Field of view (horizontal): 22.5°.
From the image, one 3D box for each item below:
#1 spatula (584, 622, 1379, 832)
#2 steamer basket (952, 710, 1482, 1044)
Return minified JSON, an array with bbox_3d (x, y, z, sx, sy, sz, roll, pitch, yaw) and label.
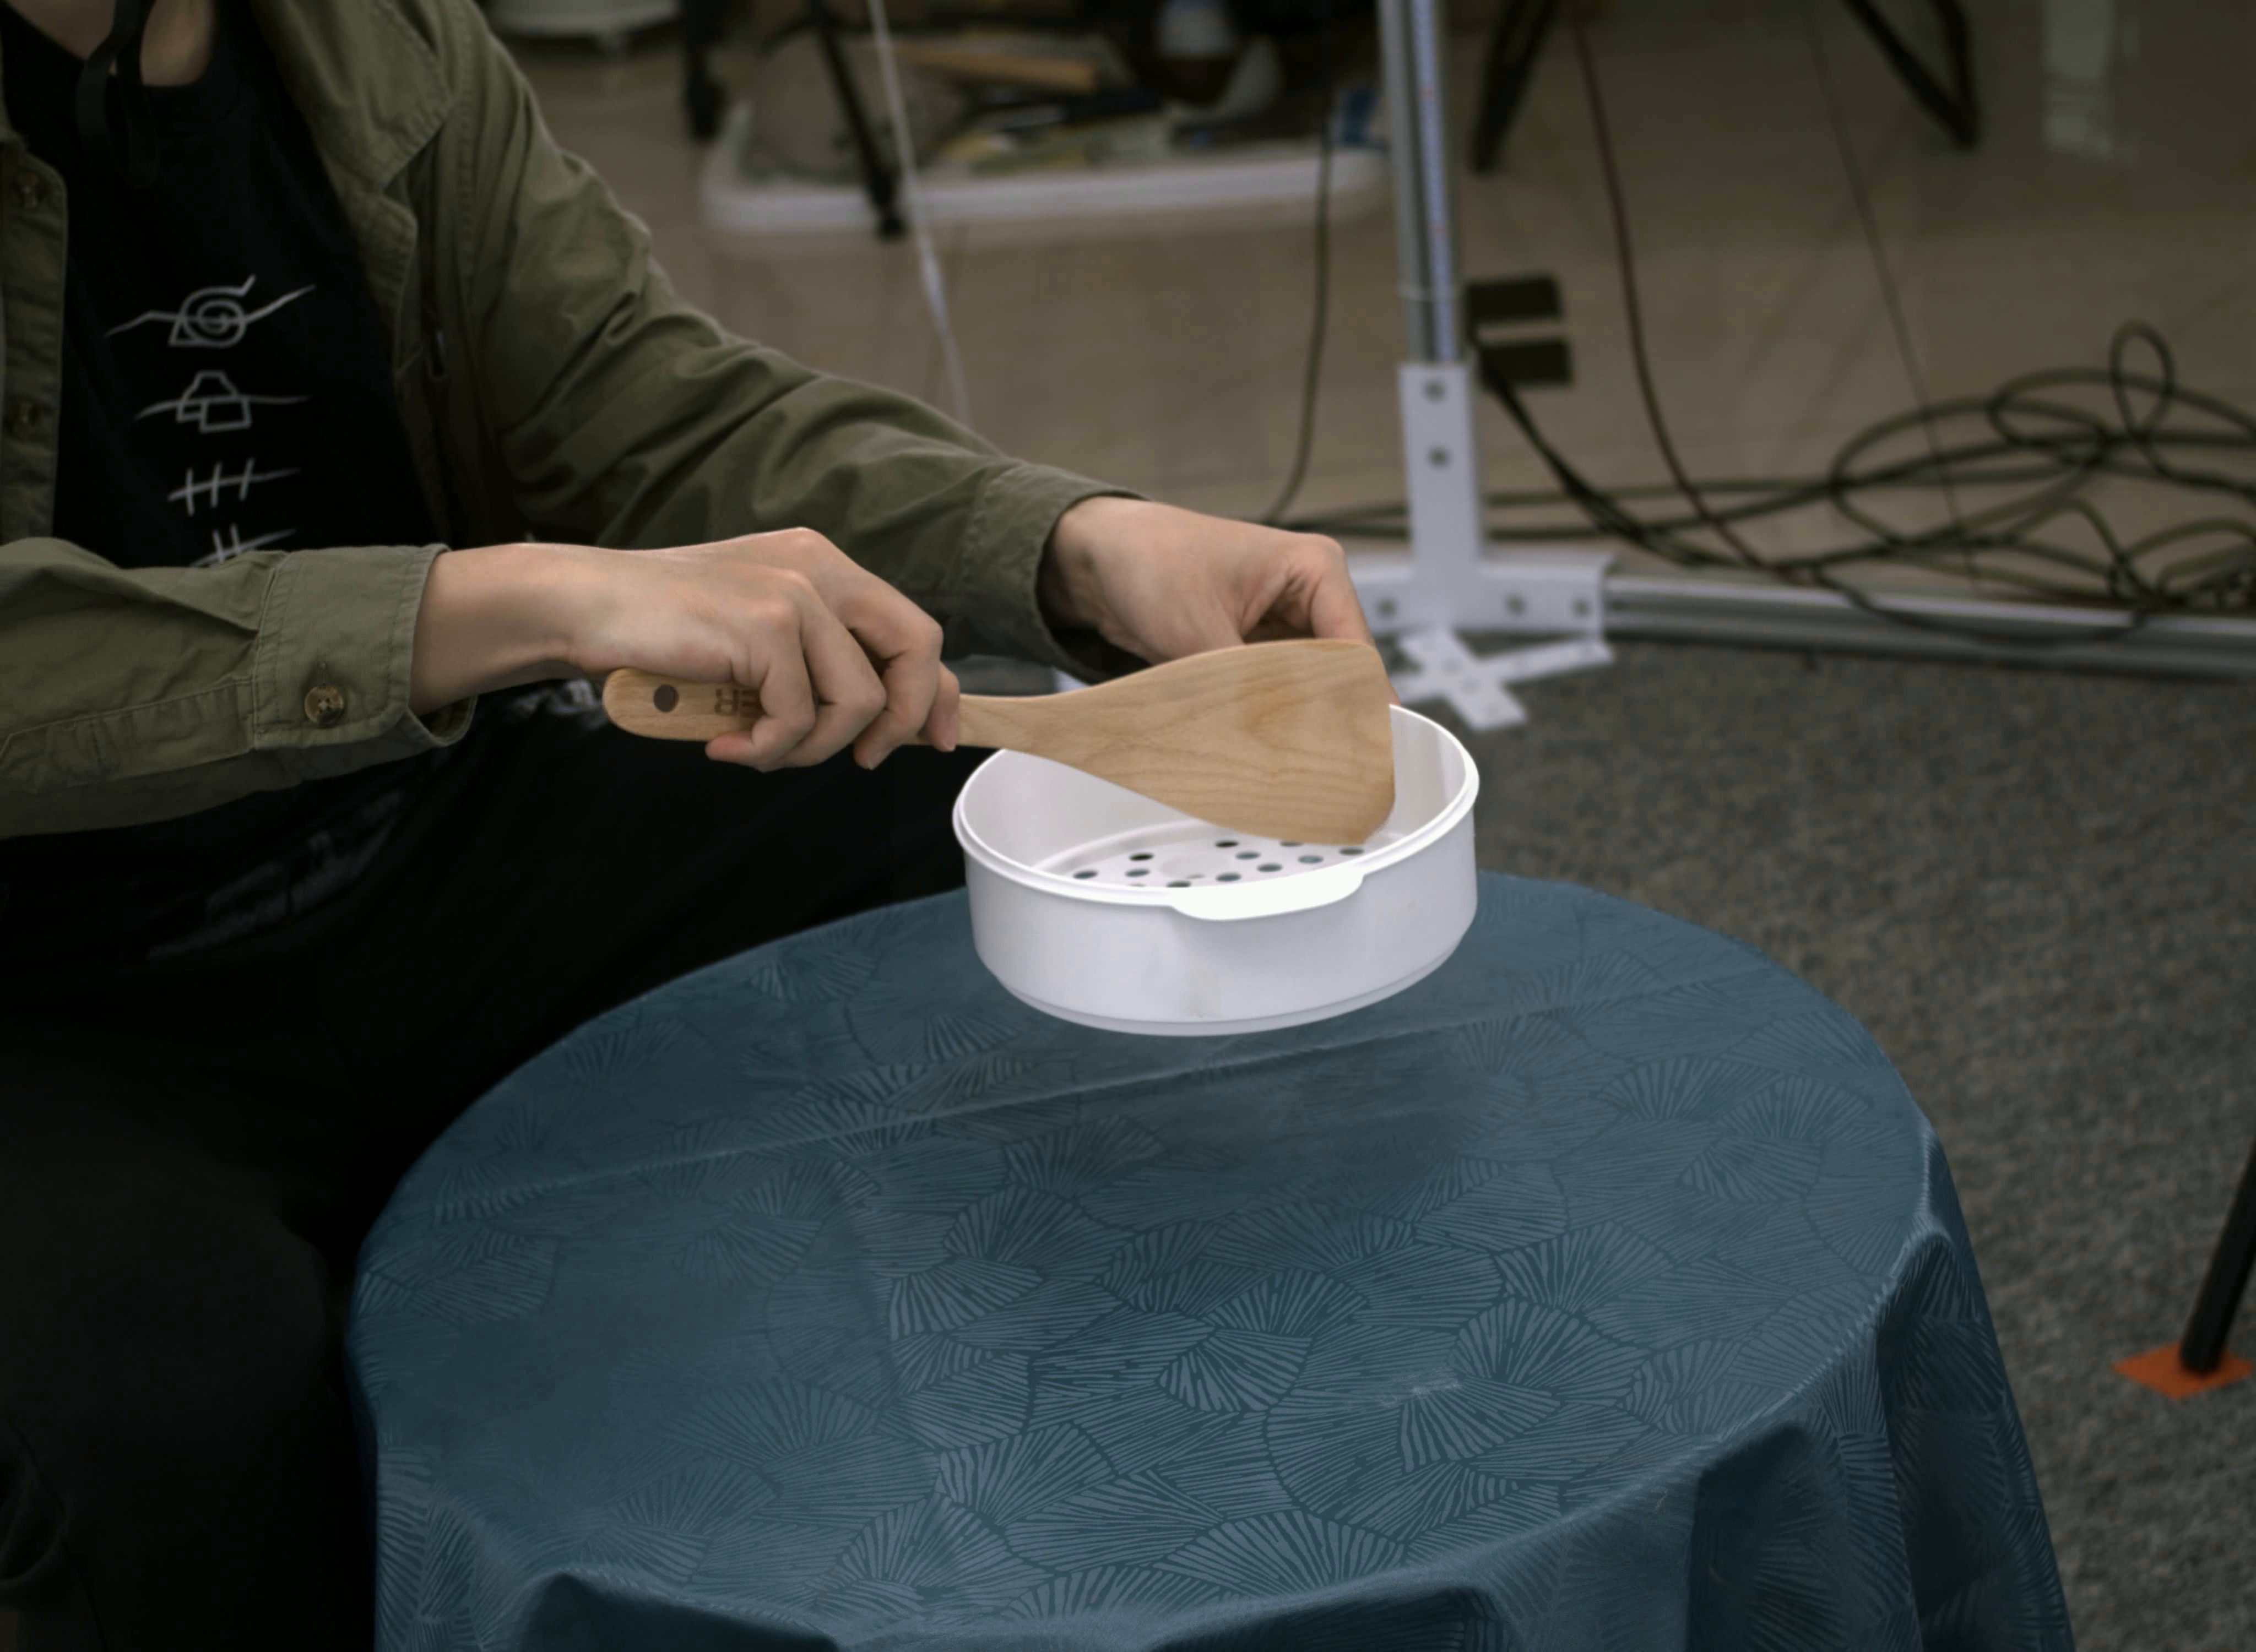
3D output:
[{"bbox_3d":[-0.048,-0.043,2.088,0.327,0.080,0.016,2,8,-29],"label":"spatula"},{"bbox_3d":[0.036,0.018,2.154,0.201,0.070,0.227,-8,22,-8],"label":"steamer basket"}]
